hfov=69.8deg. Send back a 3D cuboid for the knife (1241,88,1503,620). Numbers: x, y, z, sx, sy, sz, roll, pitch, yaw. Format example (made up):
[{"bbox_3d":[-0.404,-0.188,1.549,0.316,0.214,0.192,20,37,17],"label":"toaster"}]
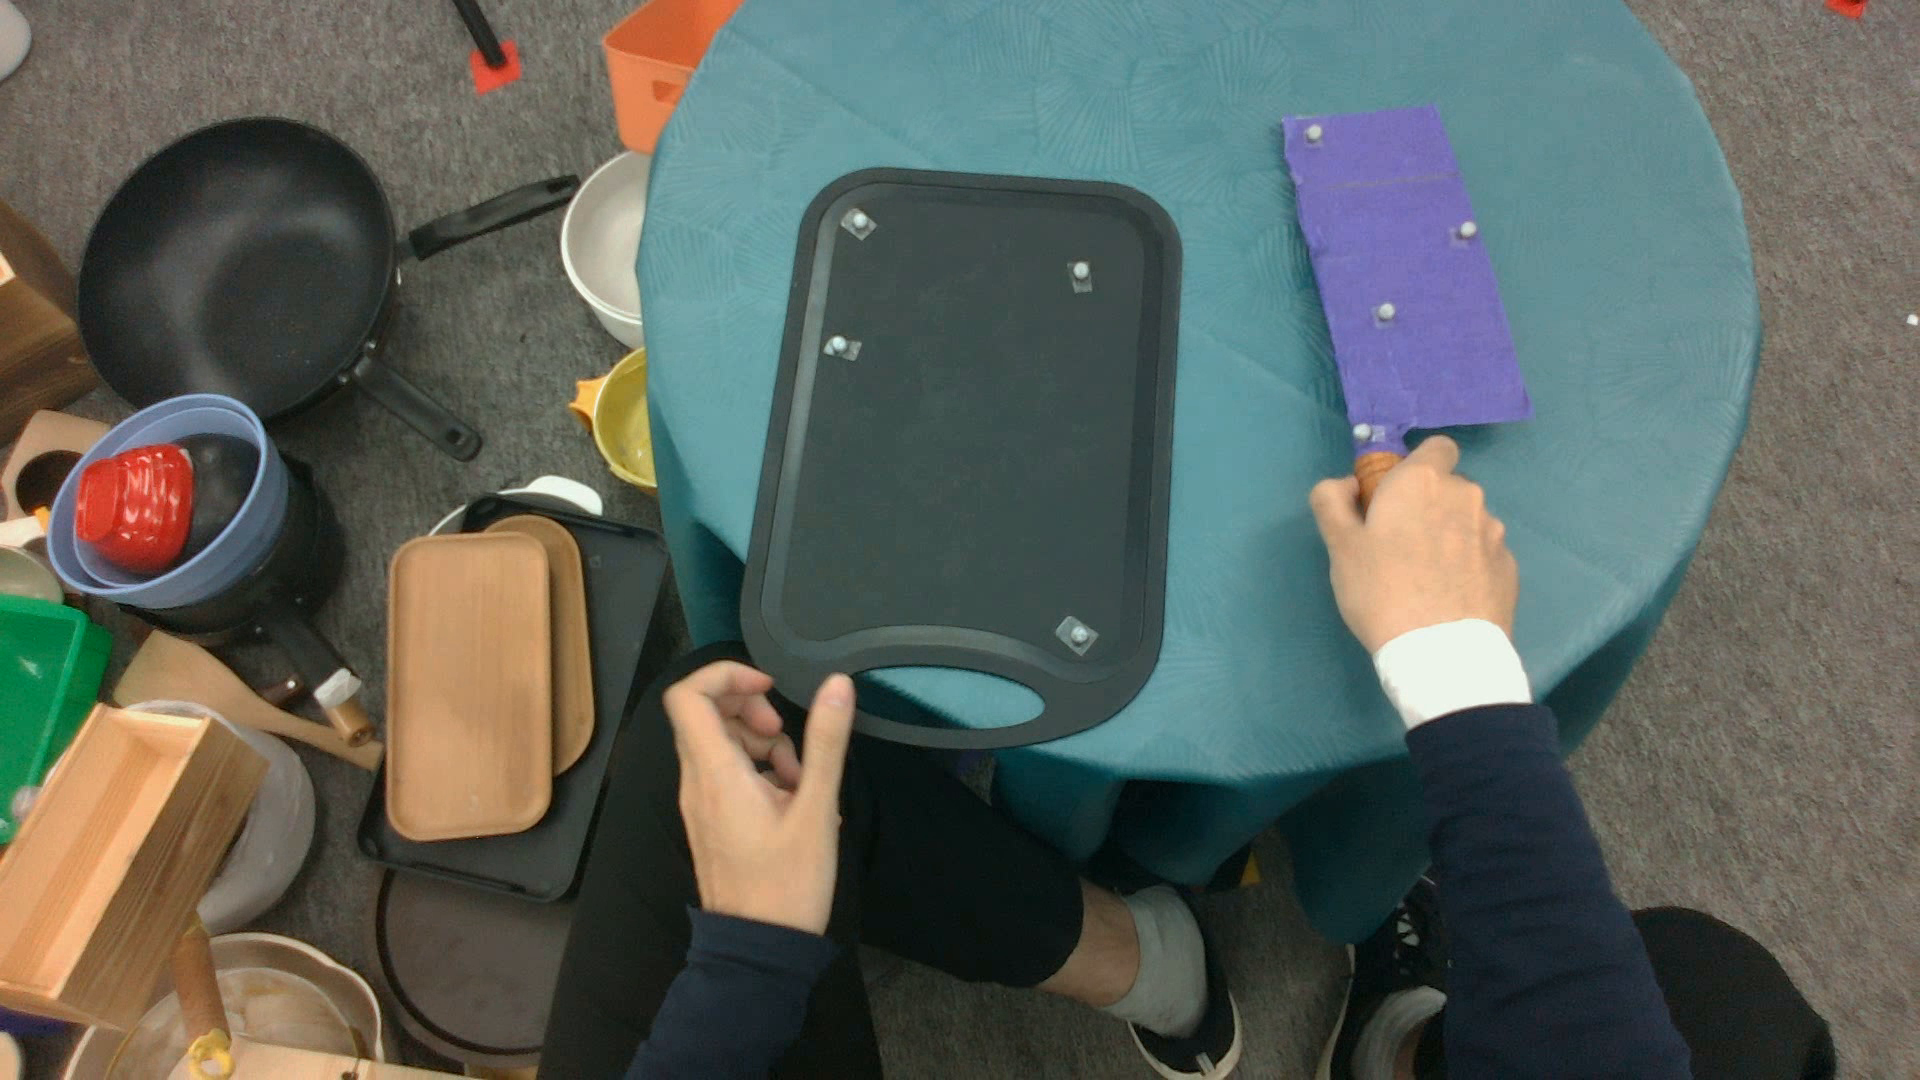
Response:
[{"bbox_3d":[0.222,-0.112,0.701,0.104,0.032,0.316,-5,65,-2],"label":"knife"}]

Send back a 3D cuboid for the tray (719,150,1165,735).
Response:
[{"bbox_3d":[-0.004,-0.061,0.708,0.211,0.010,0.326,5,70,3],"label":"tray"}]
